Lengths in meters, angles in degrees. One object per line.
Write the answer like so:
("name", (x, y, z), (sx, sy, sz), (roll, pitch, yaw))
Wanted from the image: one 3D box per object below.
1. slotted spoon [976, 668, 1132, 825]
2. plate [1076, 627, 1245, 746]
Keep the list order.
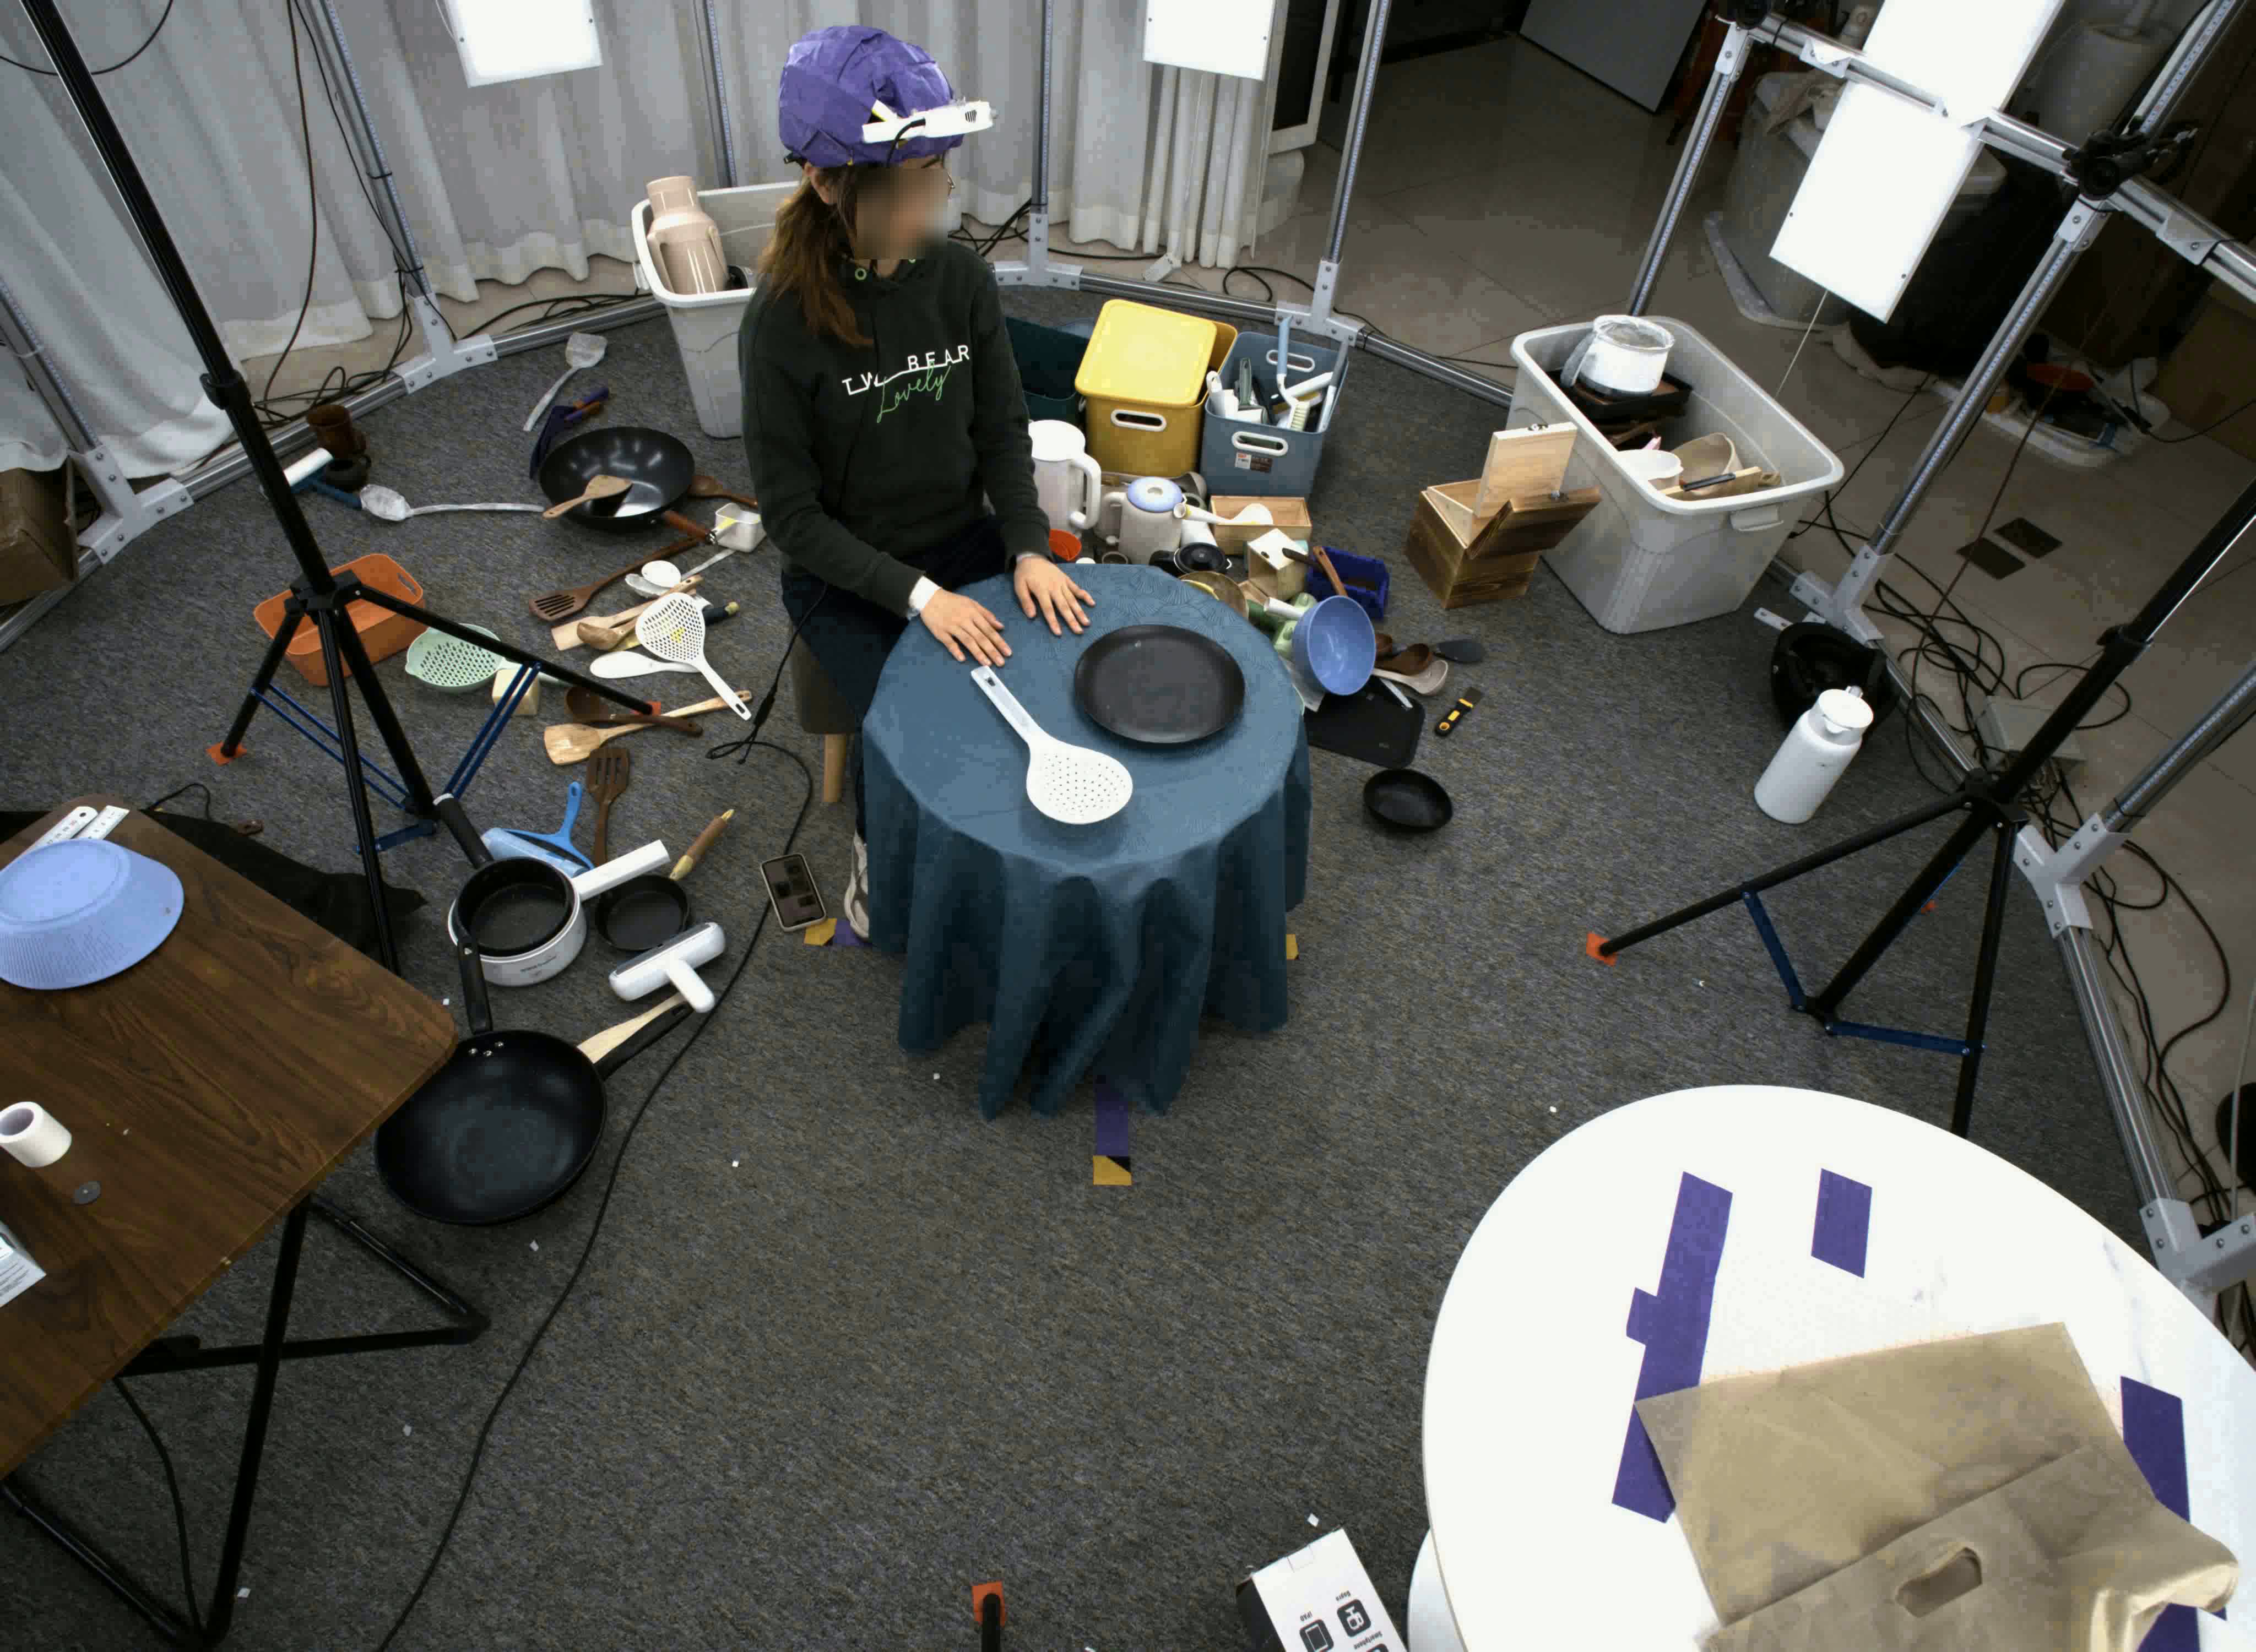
("slotted spoon", (-0.119, -0.113, 1.745), (0.136, 0.044, 0.357), (-21, 52, -23))
("plate", (0.046, -0.198, 1.845), (0.244, 0.023, 0.250), (2, 49, -2))
